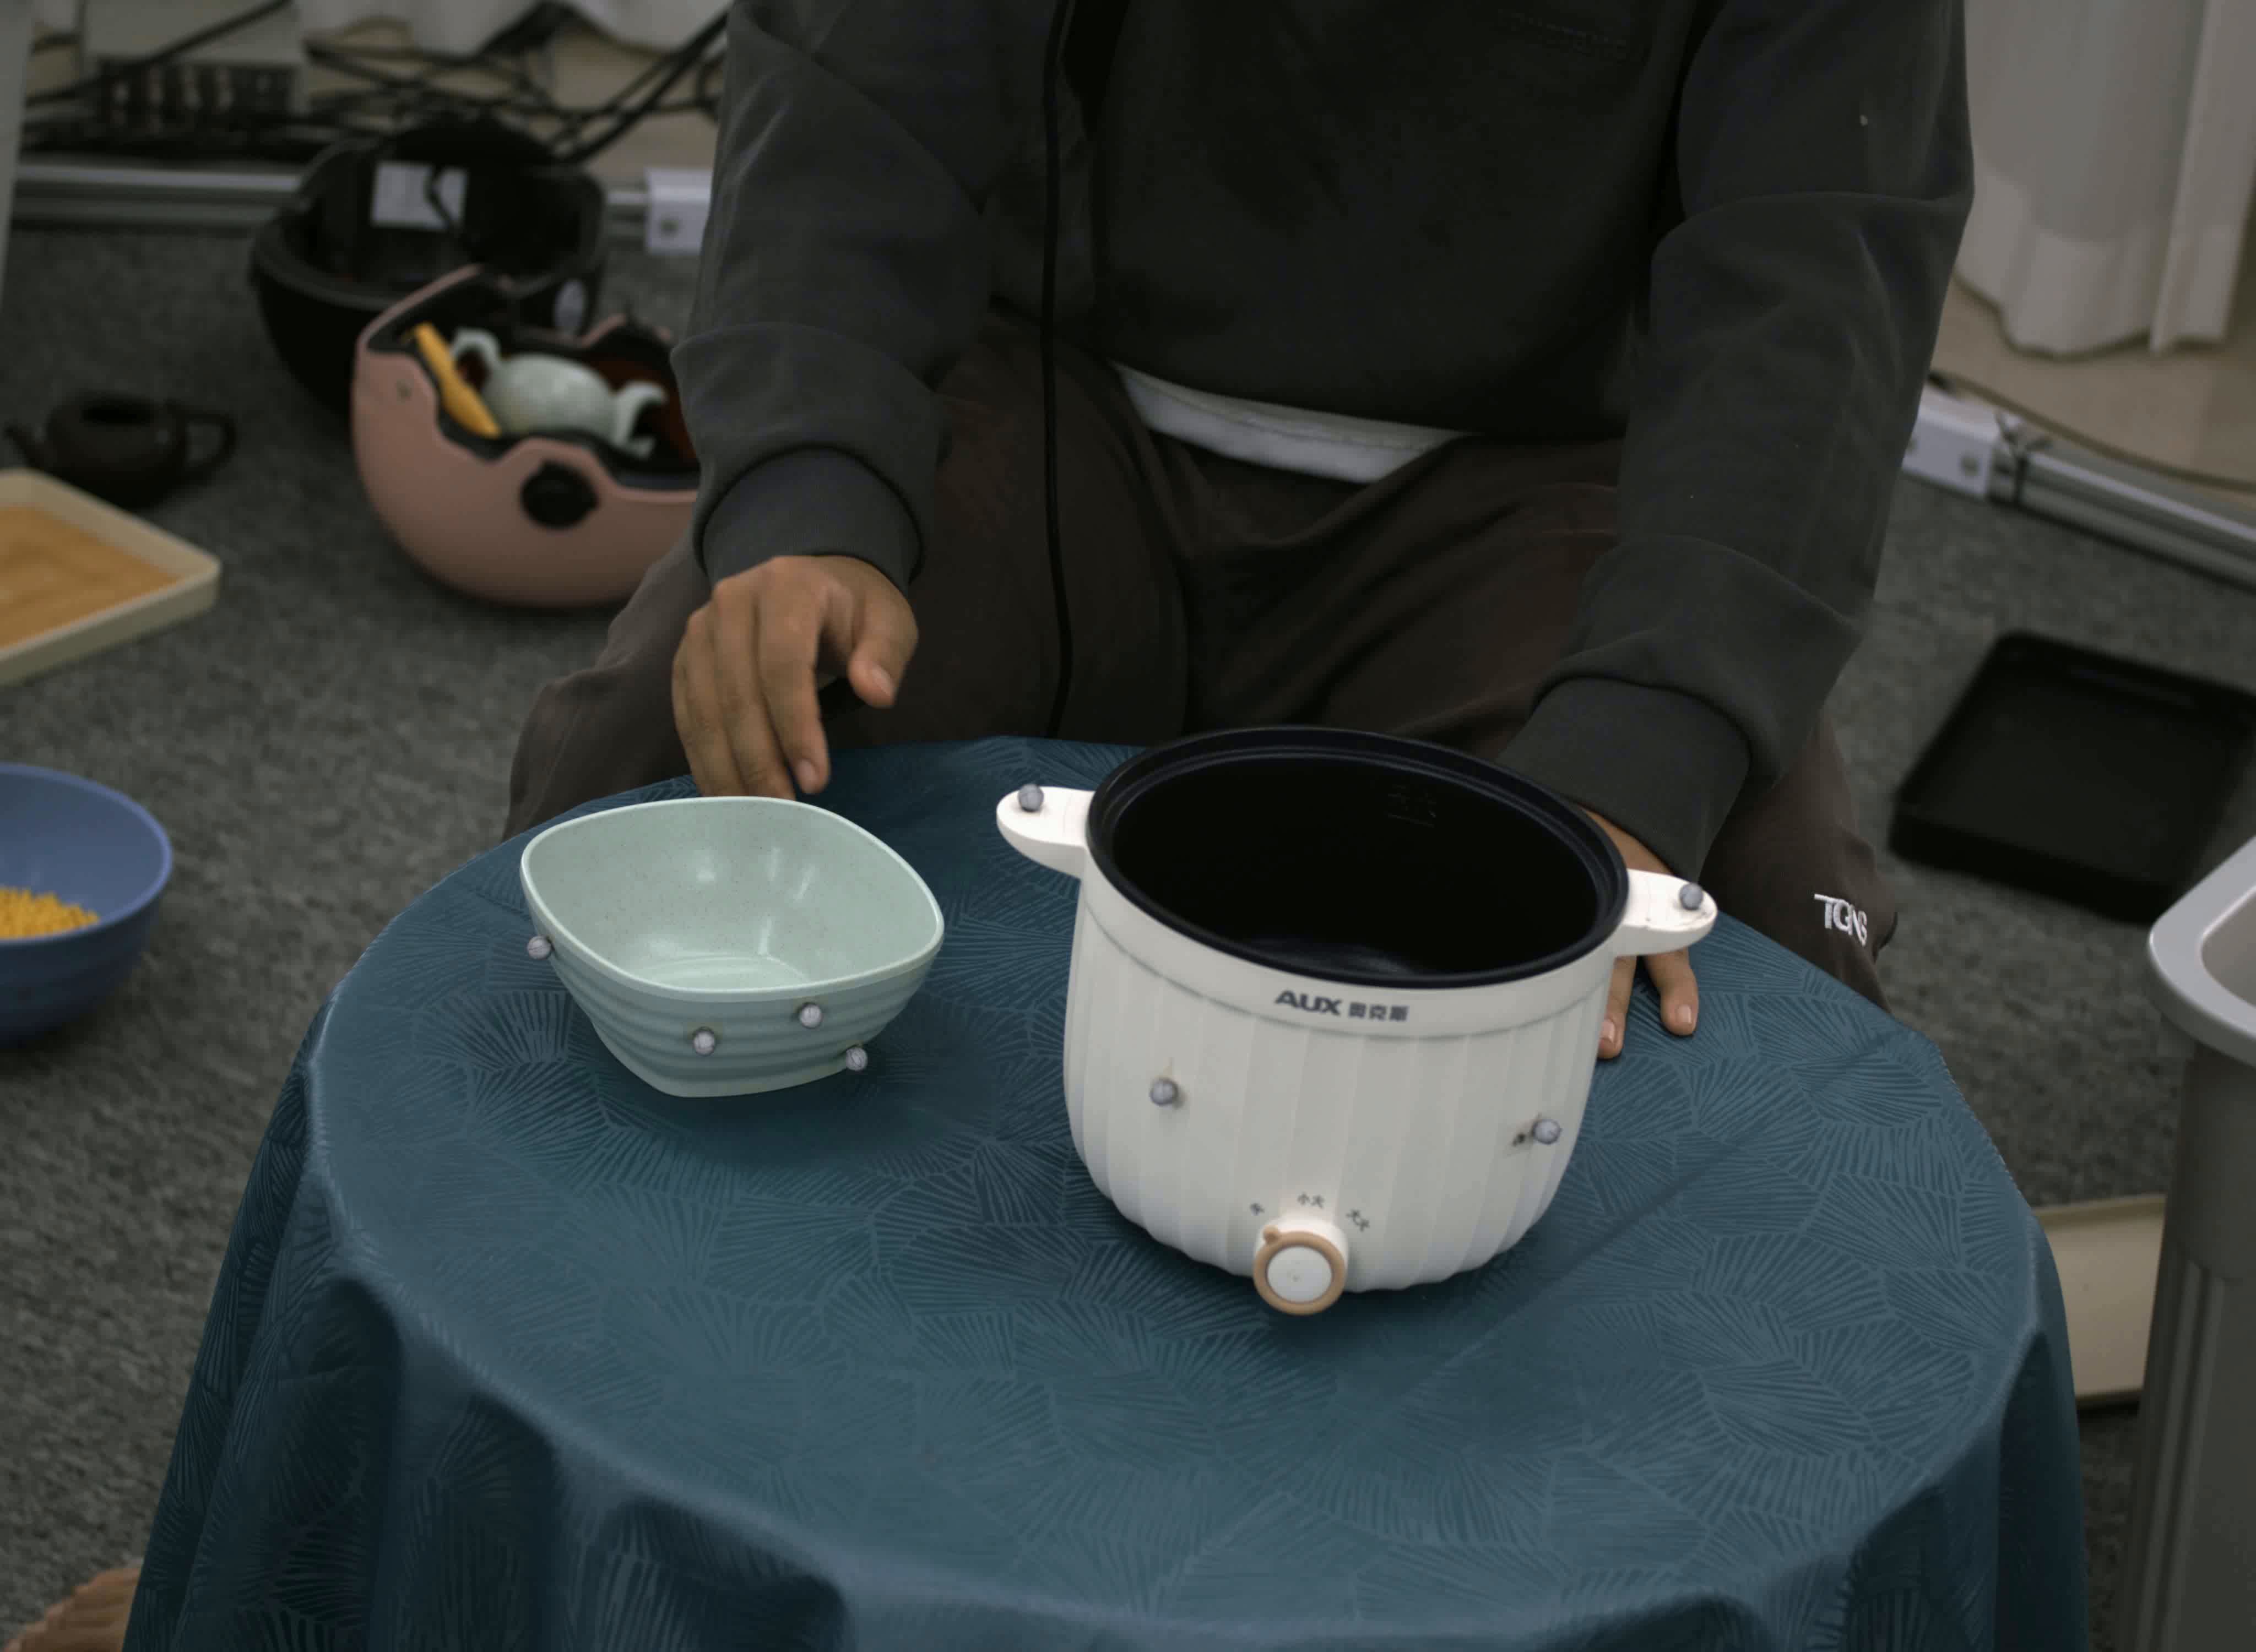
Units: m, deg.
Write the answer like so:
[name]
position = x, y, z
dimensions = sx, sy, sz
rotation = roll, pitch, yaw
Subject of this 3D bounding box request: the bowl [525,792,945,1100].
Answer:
[bowl]
position = -0.140, 0.048, 1.861
dimensions = 0.151, 0.058, 0.152
rotation = 5, 28, -3

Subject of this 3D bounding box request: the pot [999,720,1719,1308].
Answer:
[pot]
position = 0.071, 0.066, 1.781
dimensions = 0.240, 0.142, 0.191
rotation = 6, 23, 1
